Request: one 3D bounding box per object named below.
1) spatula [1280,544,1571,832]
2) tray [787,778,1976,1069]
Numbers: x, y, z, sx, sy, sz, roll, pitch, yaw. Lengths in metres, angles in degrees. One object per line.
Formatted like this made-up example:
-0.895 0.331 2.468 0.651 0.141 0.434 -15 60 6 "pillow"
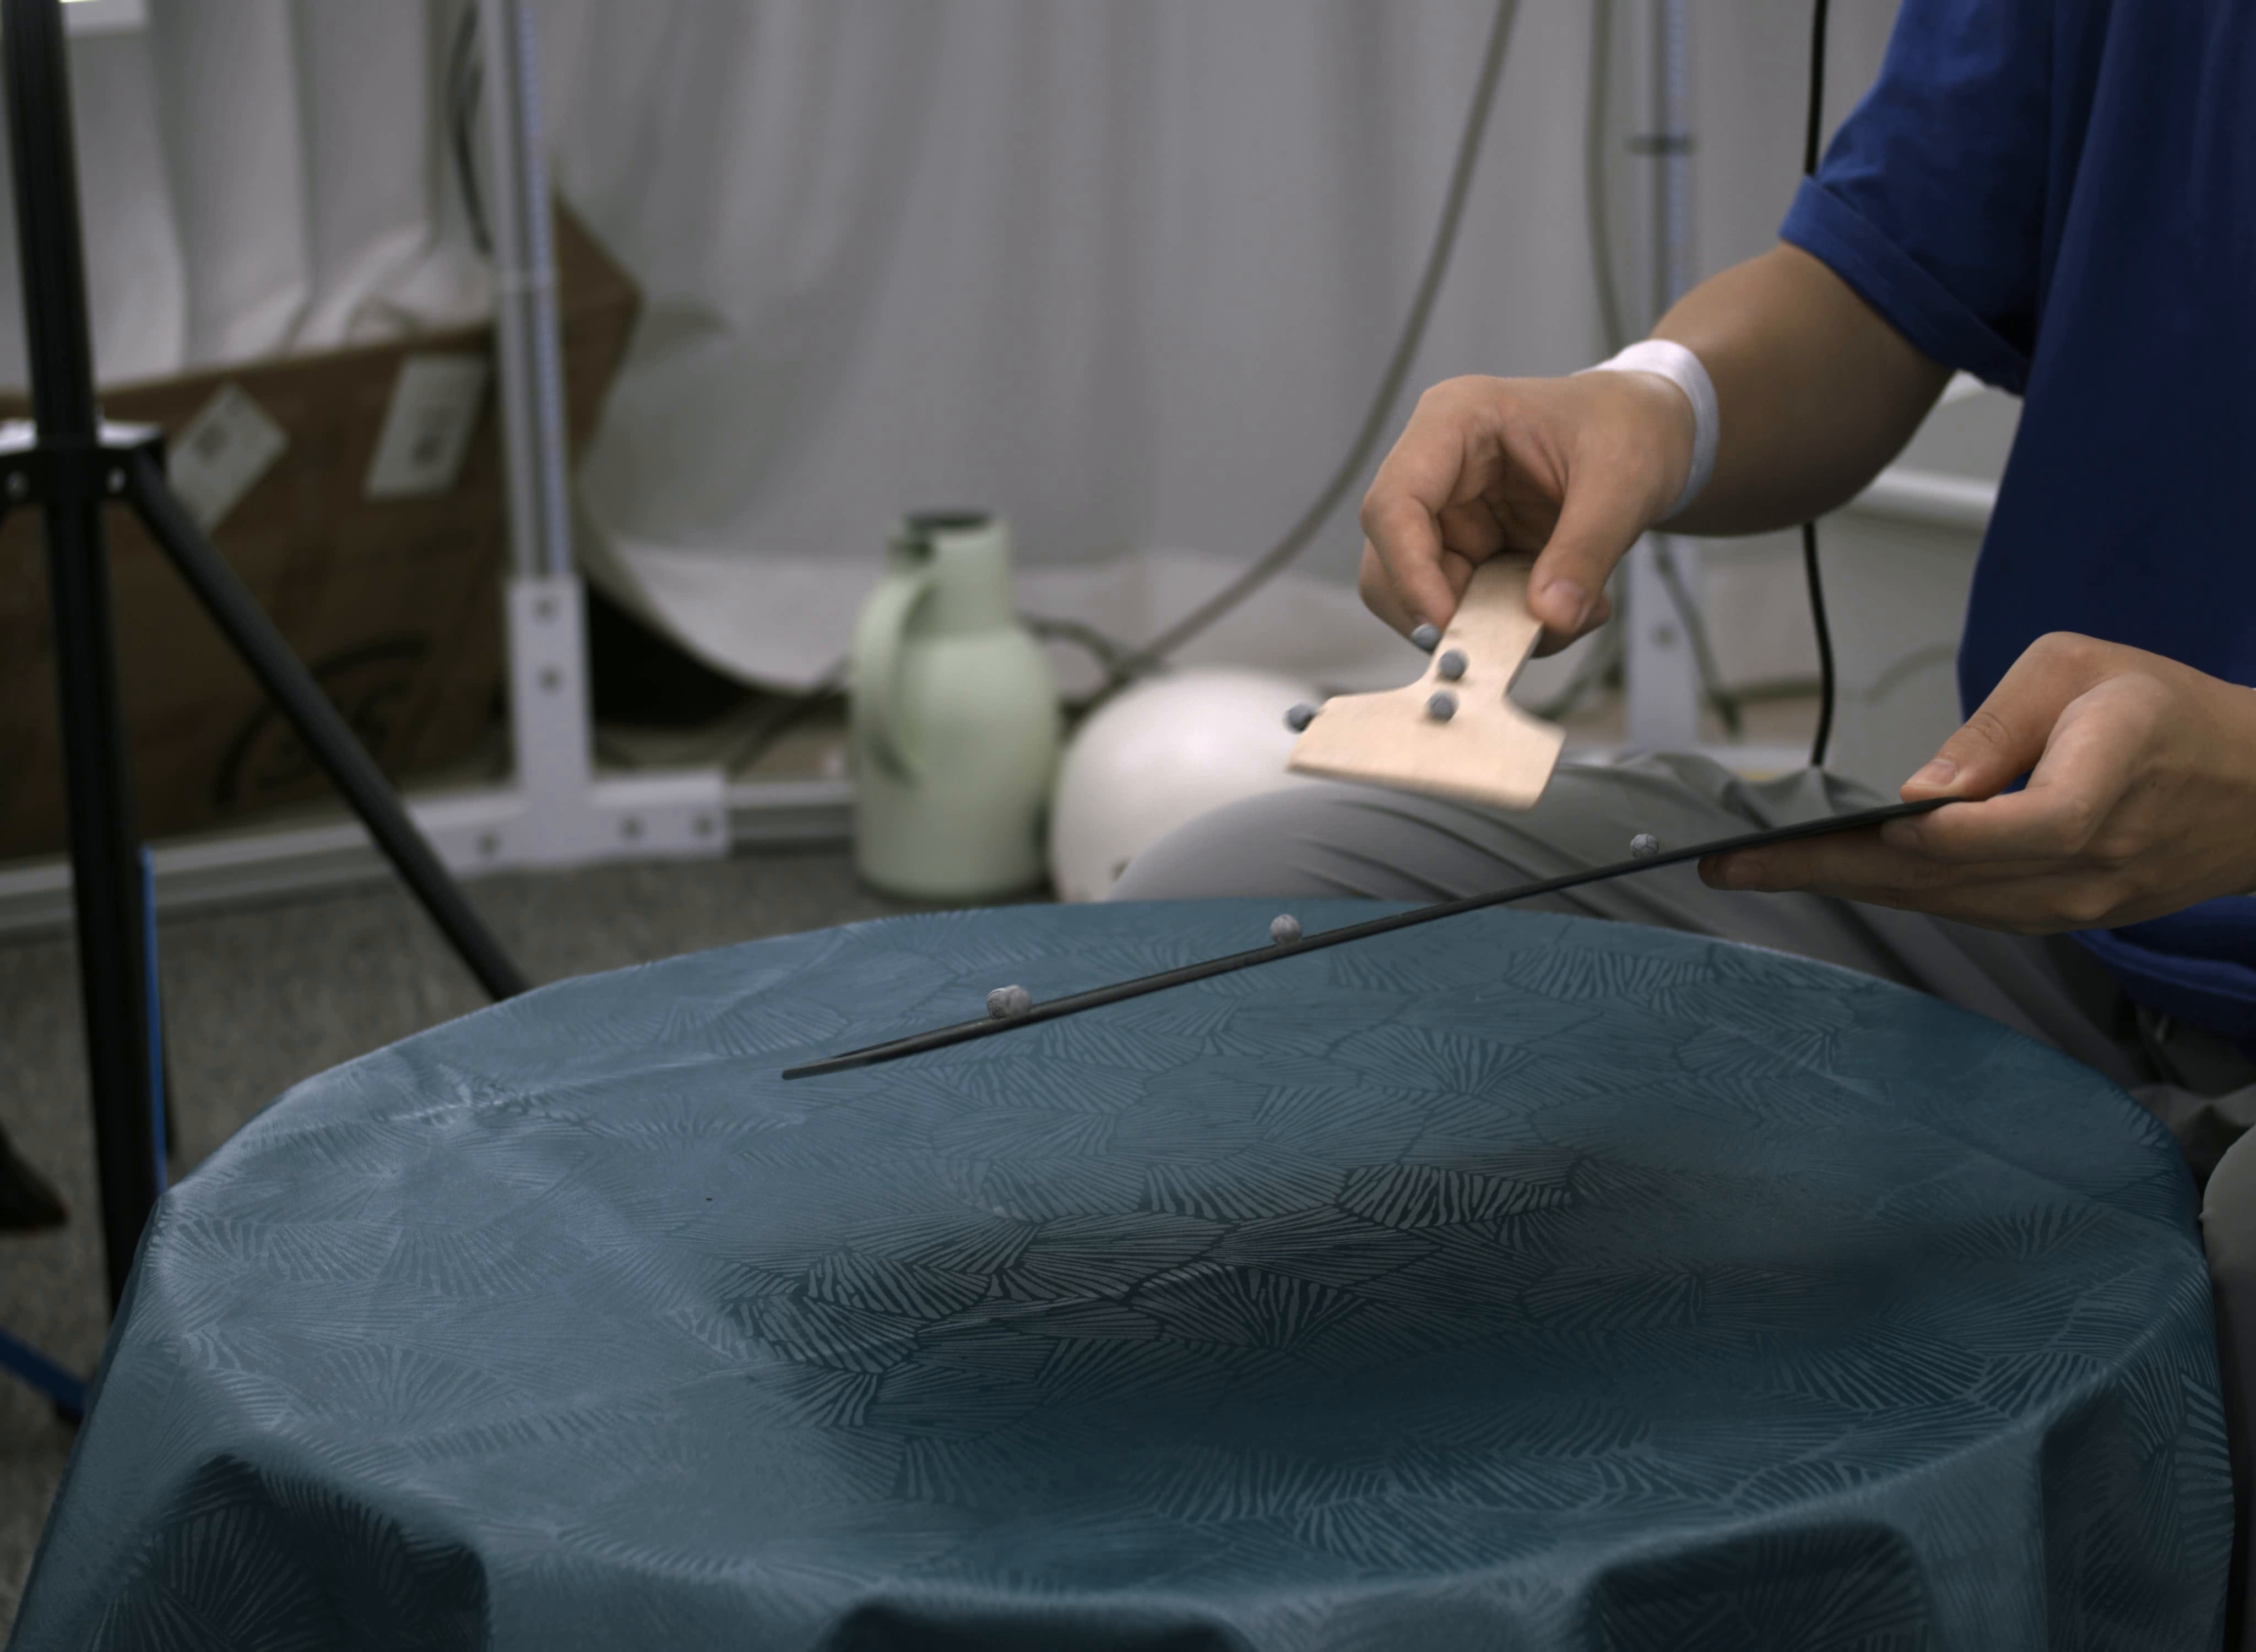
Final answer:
0.099 -0.045 1.557 0.072 0.010 0.291 11 18 8 "spatula"
0.071 0.026 1.454 0.321 0.010 0.212 -13 -1 -12 "tray"
